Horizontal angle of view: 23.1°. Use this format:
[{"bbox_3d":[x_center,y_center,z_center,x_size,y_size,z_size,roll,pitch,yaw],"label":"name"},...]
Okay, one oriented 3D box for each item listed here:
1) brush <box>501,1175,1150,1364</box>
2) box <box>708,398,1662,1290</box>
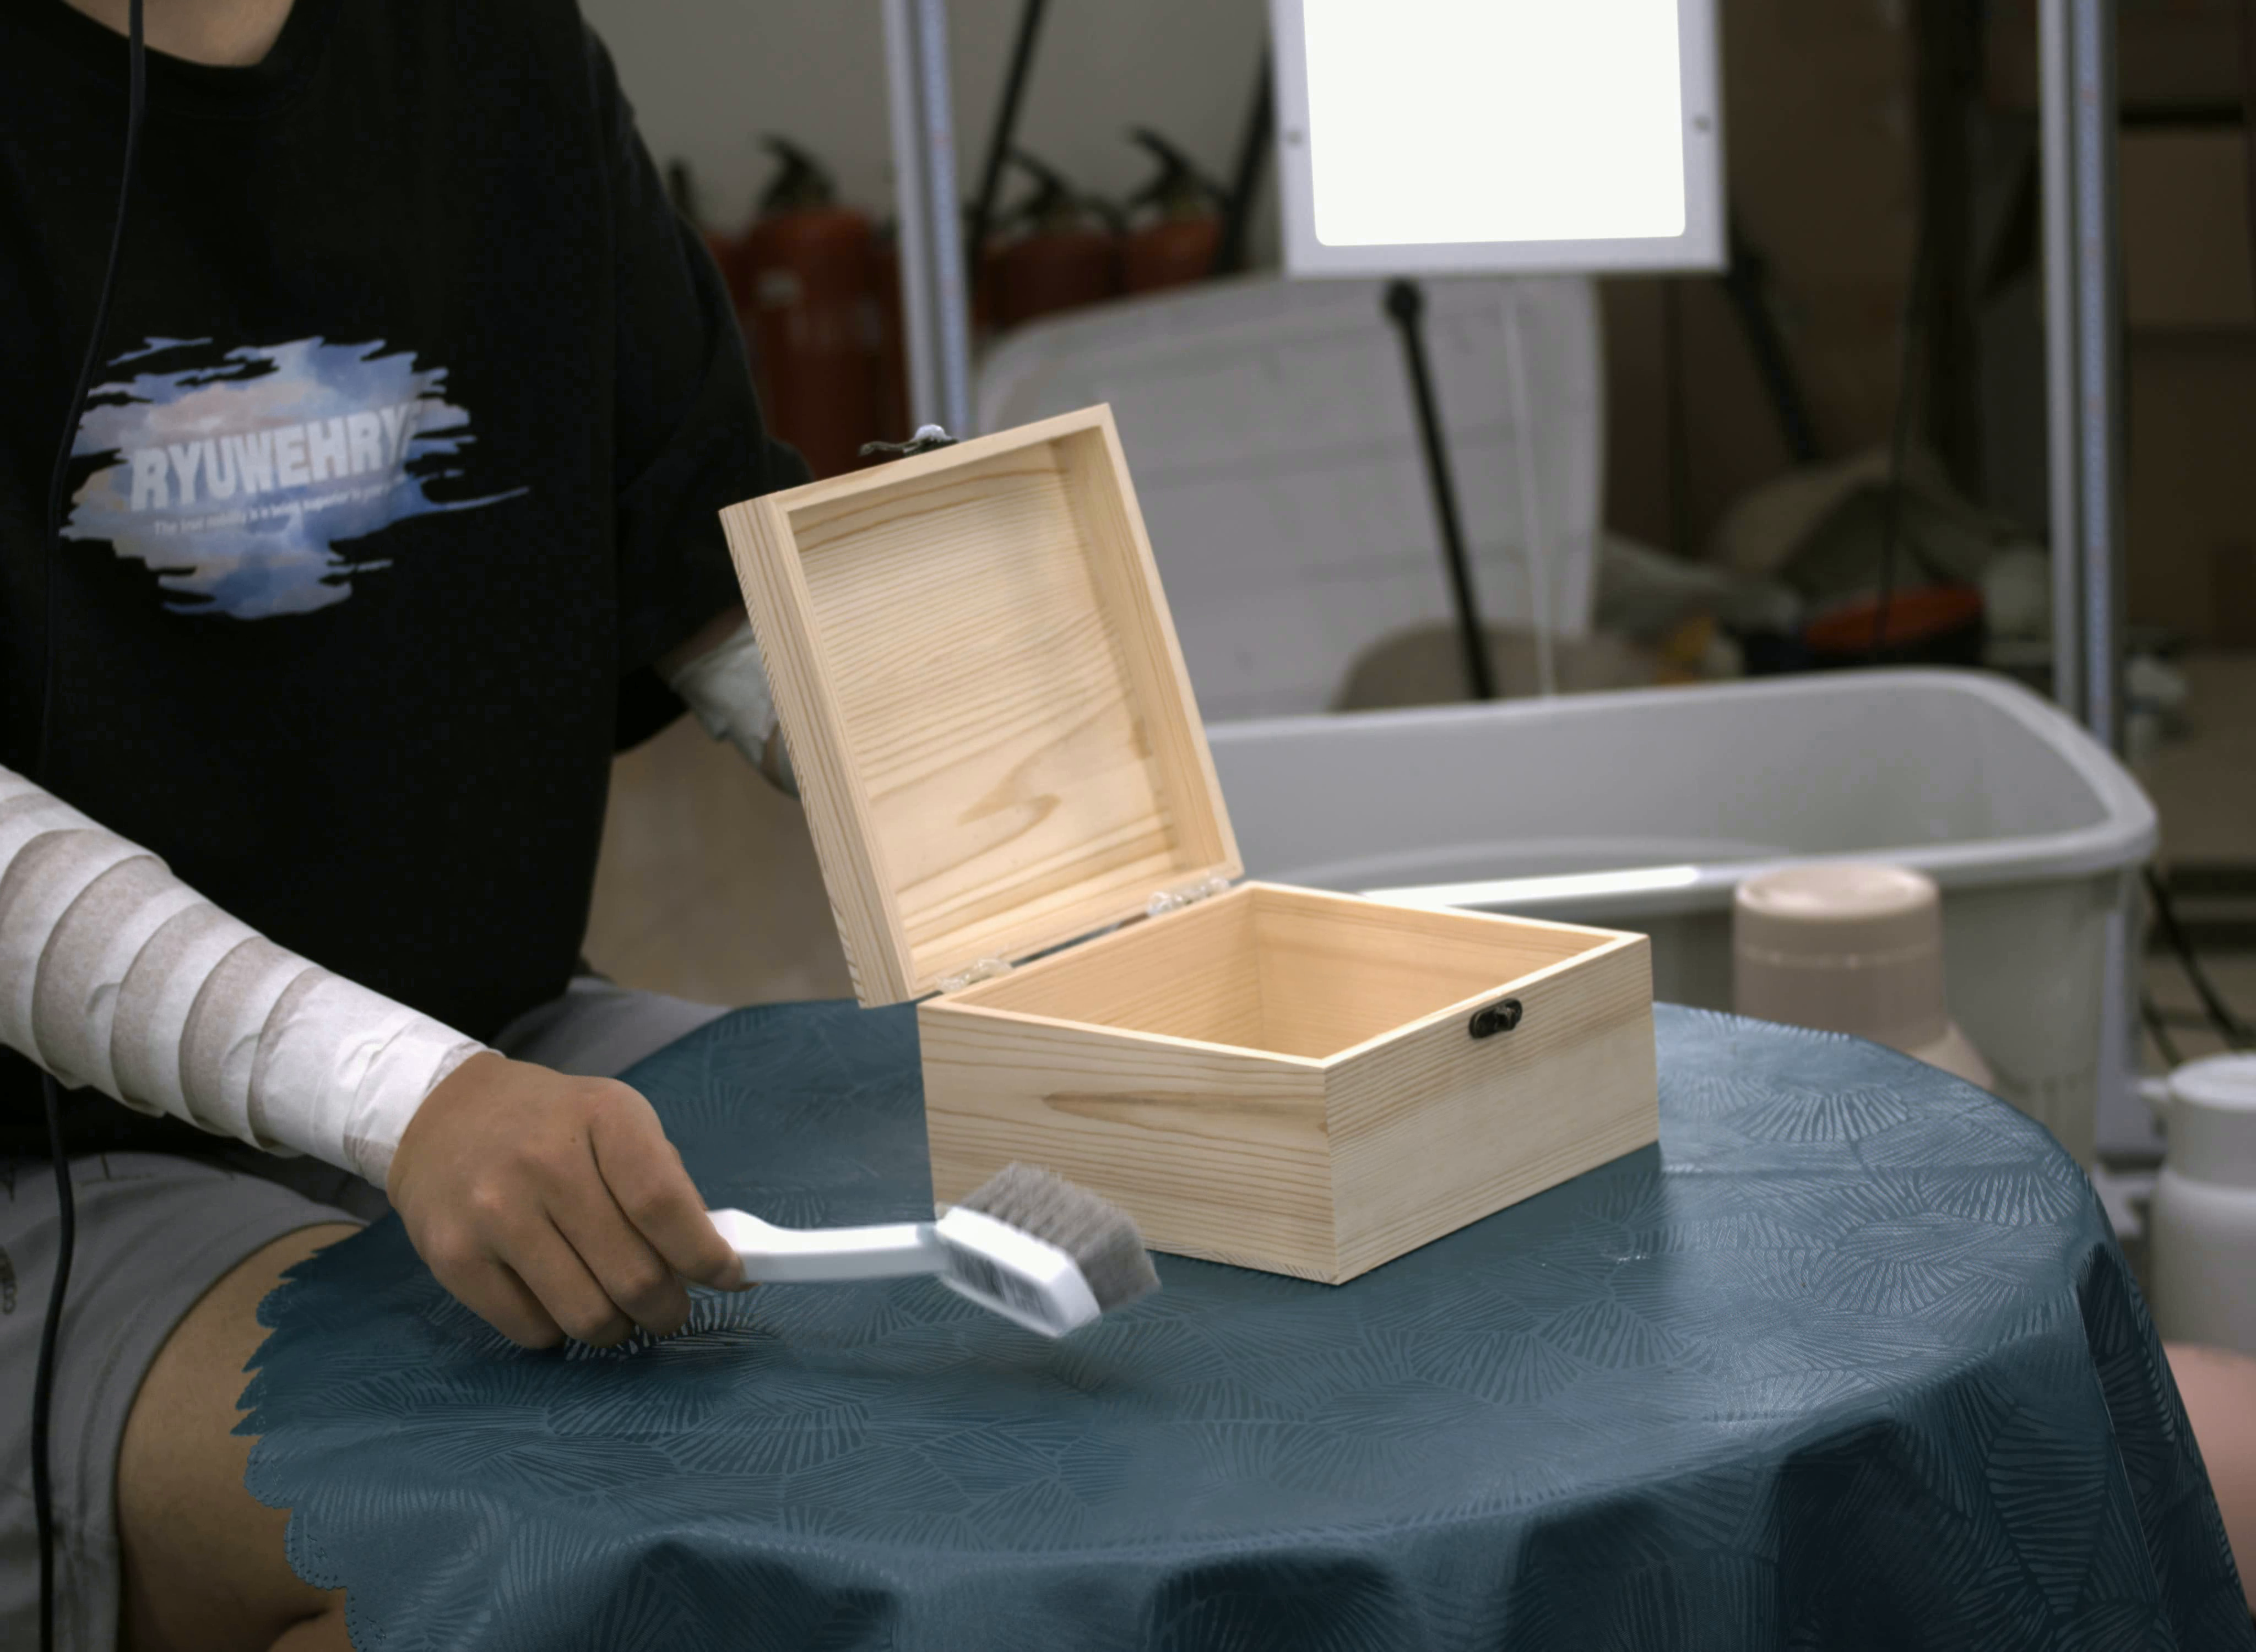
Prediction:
[{"bbox_3d":[-0.098,0.129,1.761,0.249,0.034,0.049,6,50,37],"label":"brush"},{"bbox_3d":[0.024,-0.003,1.895,0.271,0.254,0.177,7,20,41],"label":"box"}]
